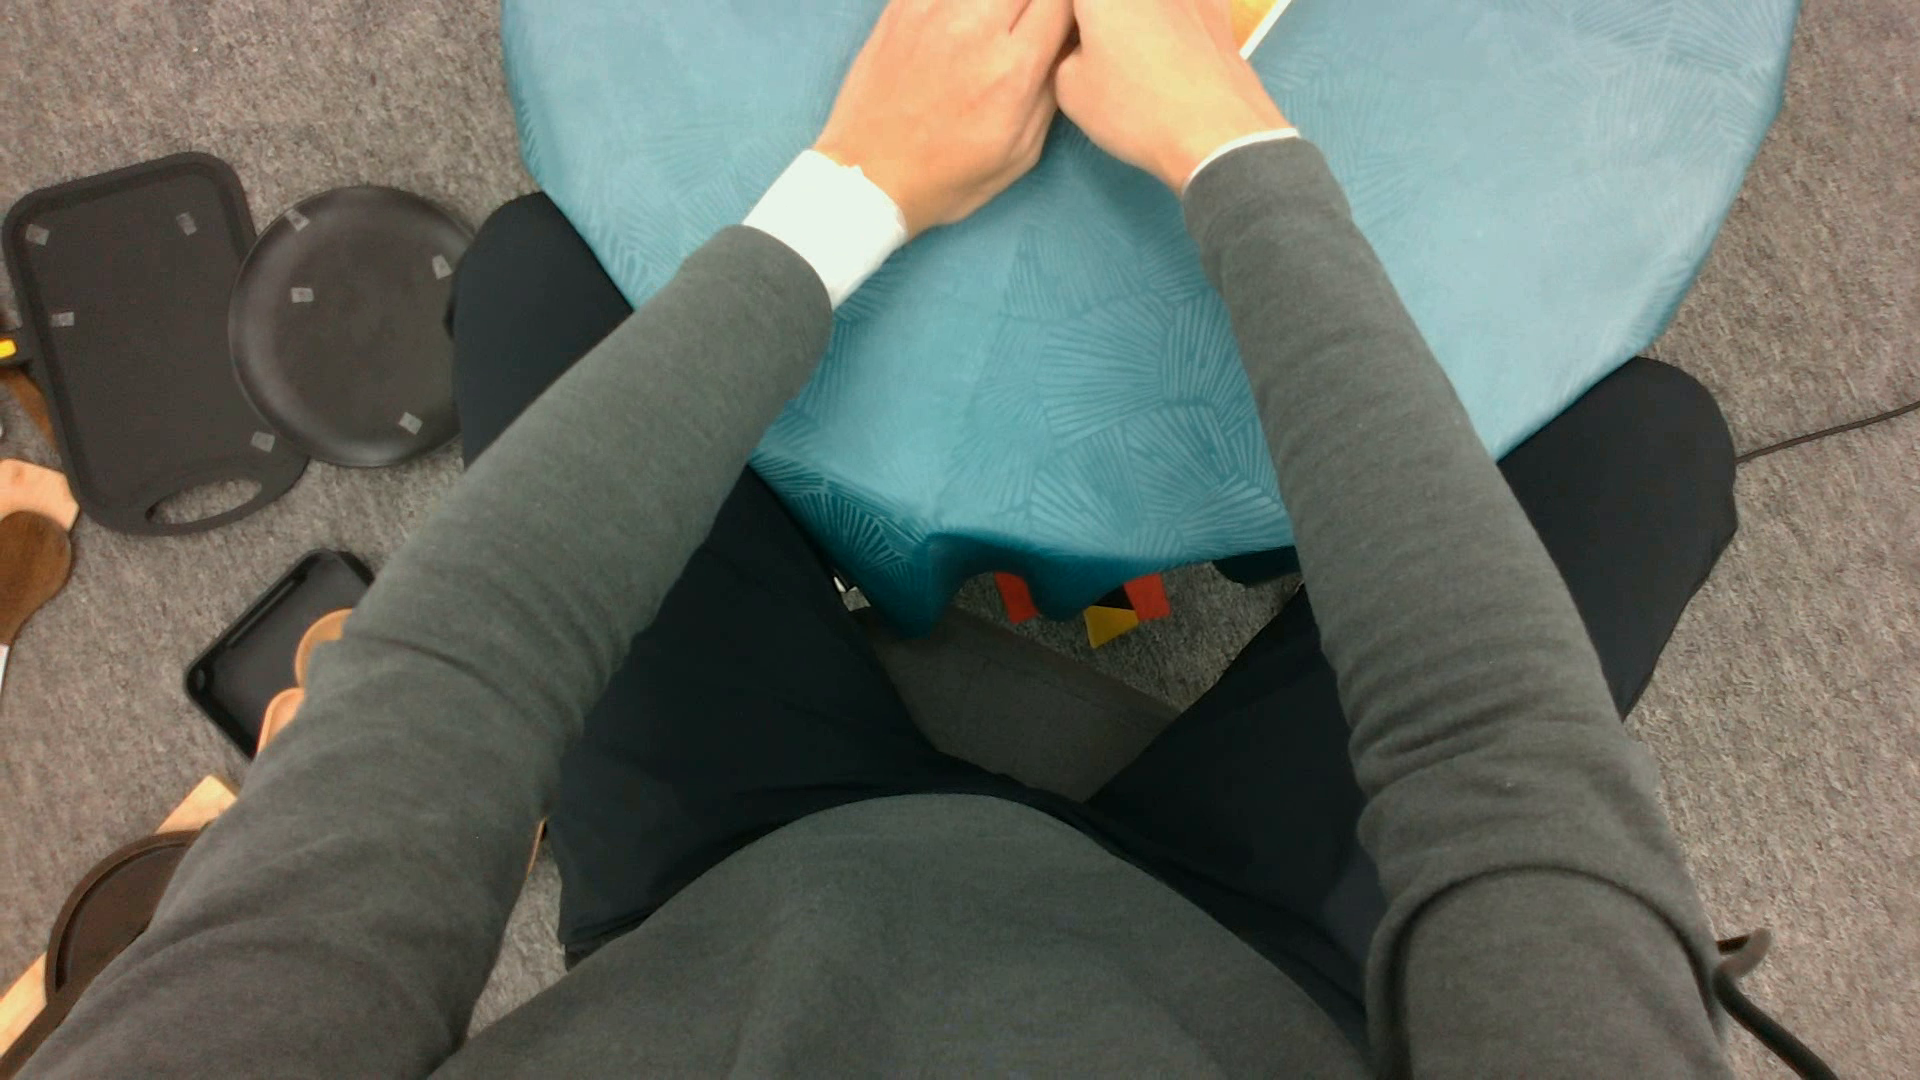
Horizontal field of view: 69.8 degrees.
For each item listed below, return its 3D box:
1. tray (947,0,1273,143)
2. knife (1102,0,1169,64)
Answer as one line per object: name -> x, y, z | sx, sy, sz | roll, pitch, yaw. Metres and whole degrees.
tray -> 0.027, -0.340, 0.620 | 0.300, 0.027, 0.191 | 38, 93, 0
knife -> 0.028, -0.316, 0.611 | 0.016, 0.024, 0.238 | -30, 90, 26
